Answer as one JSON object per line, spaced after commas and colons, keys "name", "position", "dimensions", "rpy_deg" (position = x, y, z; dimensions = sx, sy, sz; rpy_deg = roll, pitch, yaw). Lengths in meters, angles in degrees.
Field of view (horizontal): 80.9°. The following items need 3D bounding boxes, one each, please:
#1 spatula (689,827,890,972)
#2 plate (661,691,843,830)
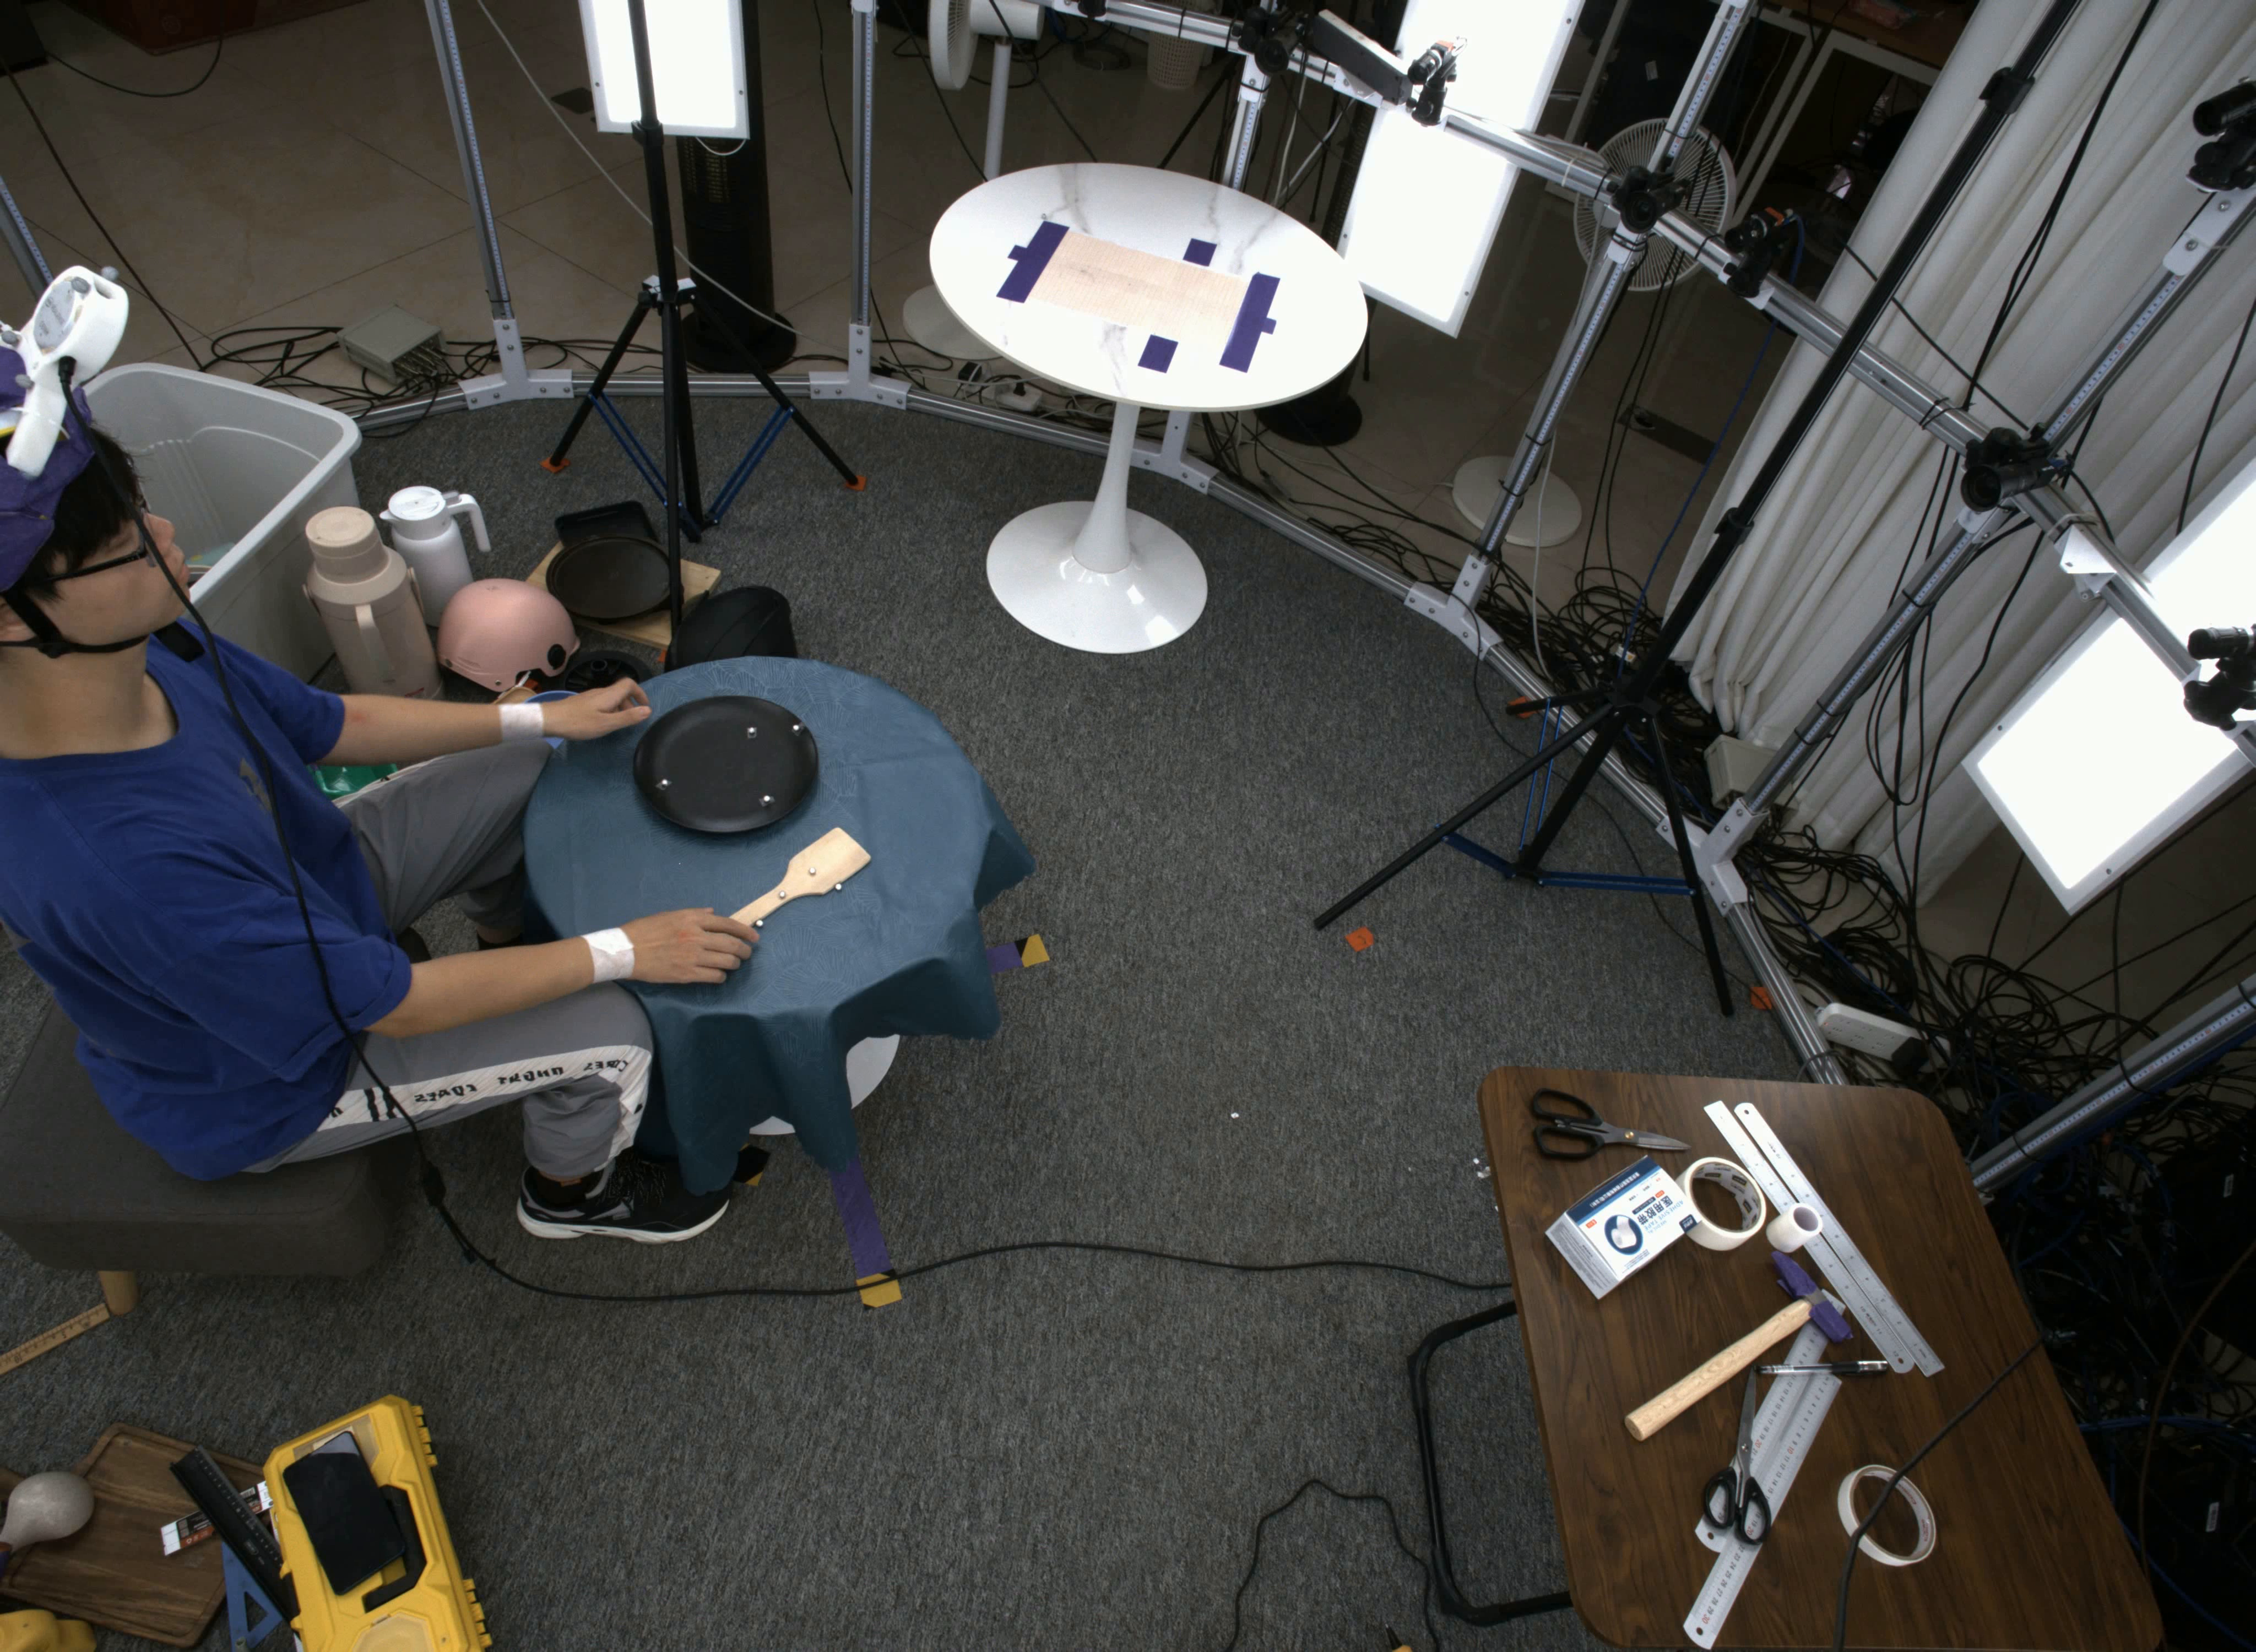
{"name": "spatula", "position": [-0.434, 0.095, 1.655], "dimensions": [0.071, 0.011, 0.293], "rpy_deg": [42, 55, 16]}
{"name": "plate", "position": [-0.511, -0.087, 1.762], "dimensions": [0.244, 0.024, 0.240], "rpy_deg": [8, 53, -9]}
